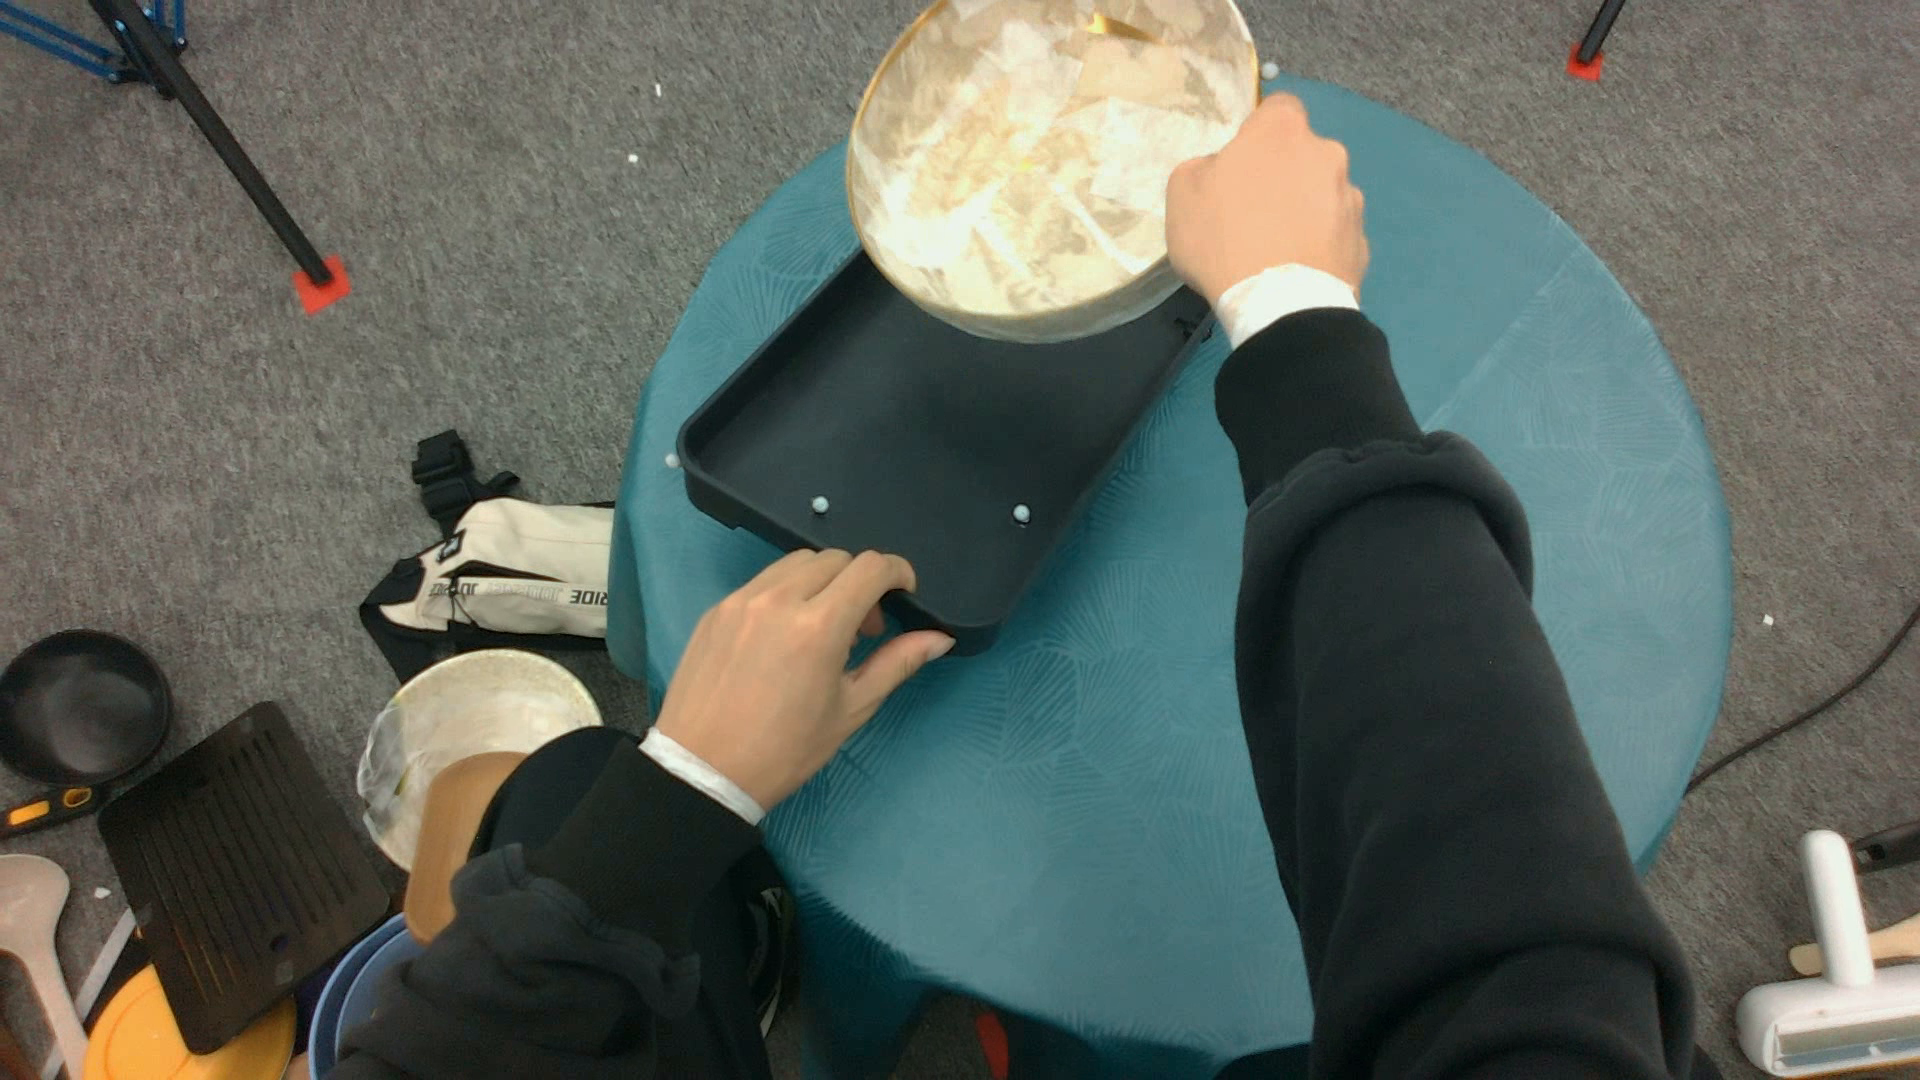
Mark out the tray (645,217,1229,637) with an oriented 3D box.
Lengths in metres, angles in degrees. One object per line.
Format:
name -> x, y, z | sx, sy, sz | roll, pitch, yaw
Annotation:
tray -> -0.001, -0.103, 0.730 | 0.184, 0.037, 0.319 | 30, 55, 12

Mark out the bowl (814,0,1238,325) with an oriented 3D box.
bowl -> 0.036, -0.186, 0.678 | 0.214, 0.094, 0.215 | -5, 71, 16
